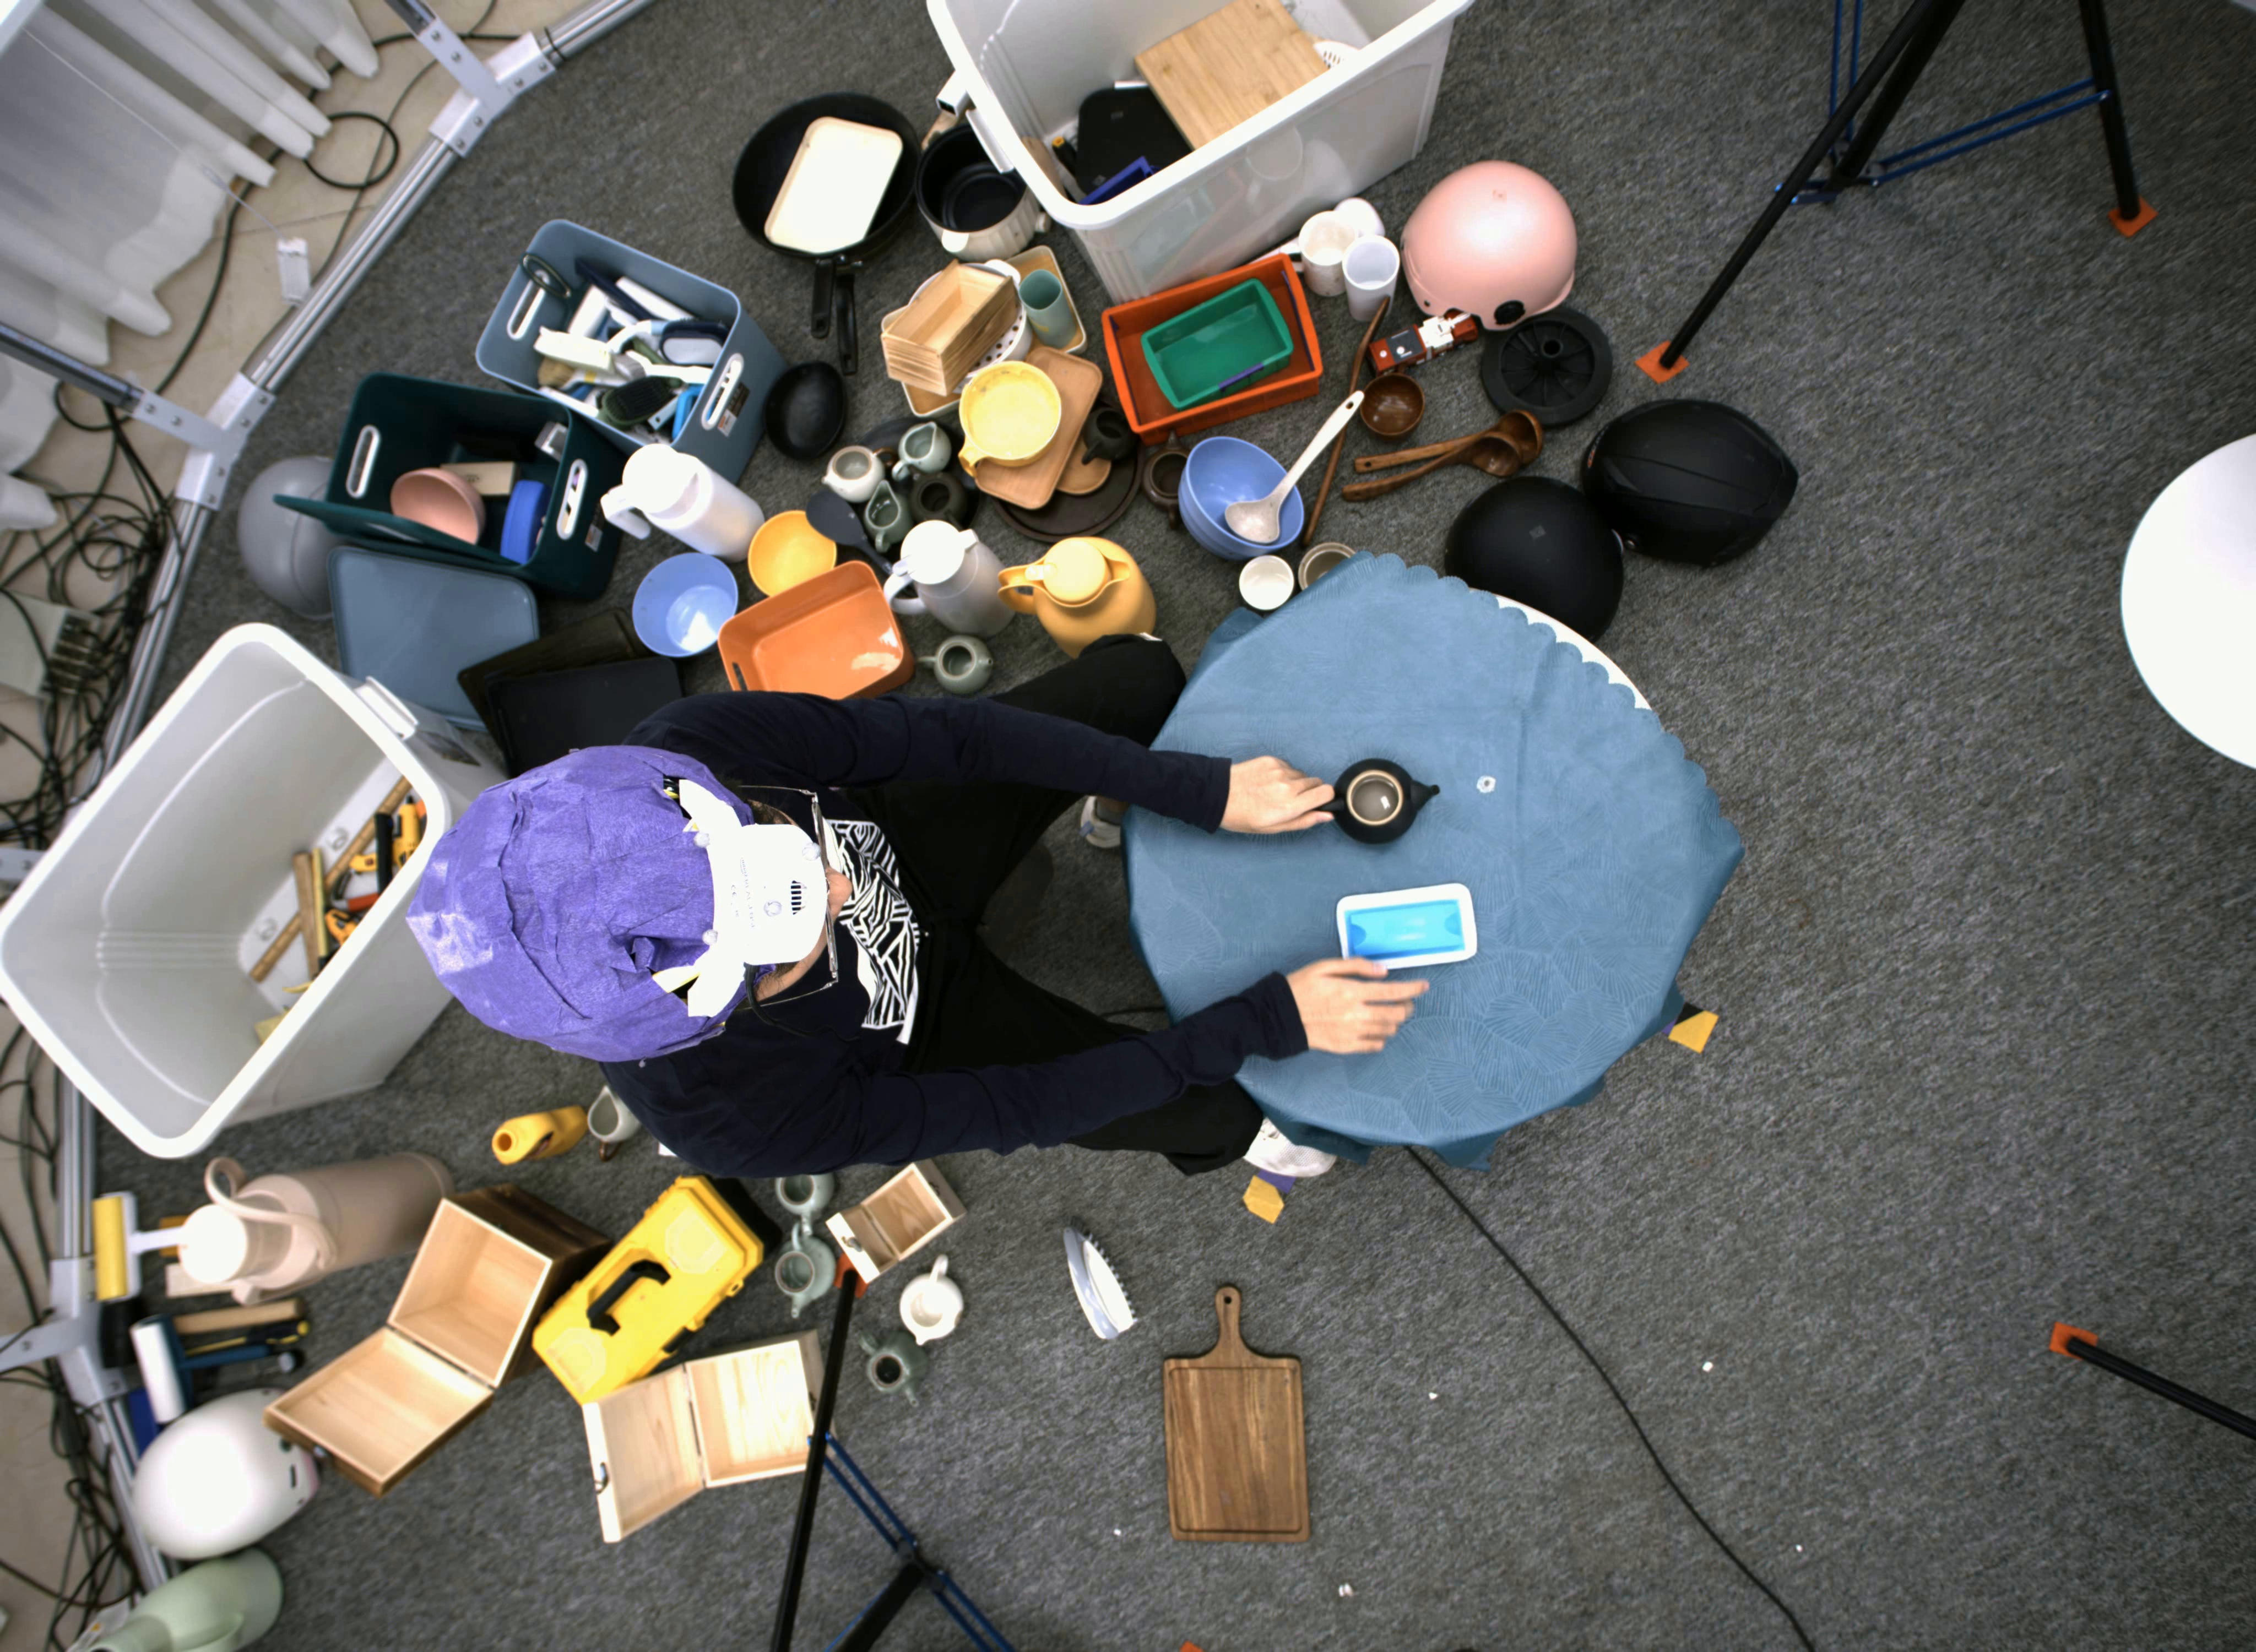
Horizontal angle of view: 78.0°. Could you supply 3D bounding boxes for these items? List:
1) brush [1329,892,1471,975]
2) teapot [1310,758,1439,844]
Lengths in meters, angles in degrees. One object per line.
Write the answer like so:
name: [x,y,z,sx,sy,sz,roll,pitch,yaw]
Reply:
brush: [0.280,0.106,1.424,0.144,0.056,0.083,-5,82,7]
teapot: [0.256,-0.028,1.438,0.134,0.053,0.090,-8,84,9]
